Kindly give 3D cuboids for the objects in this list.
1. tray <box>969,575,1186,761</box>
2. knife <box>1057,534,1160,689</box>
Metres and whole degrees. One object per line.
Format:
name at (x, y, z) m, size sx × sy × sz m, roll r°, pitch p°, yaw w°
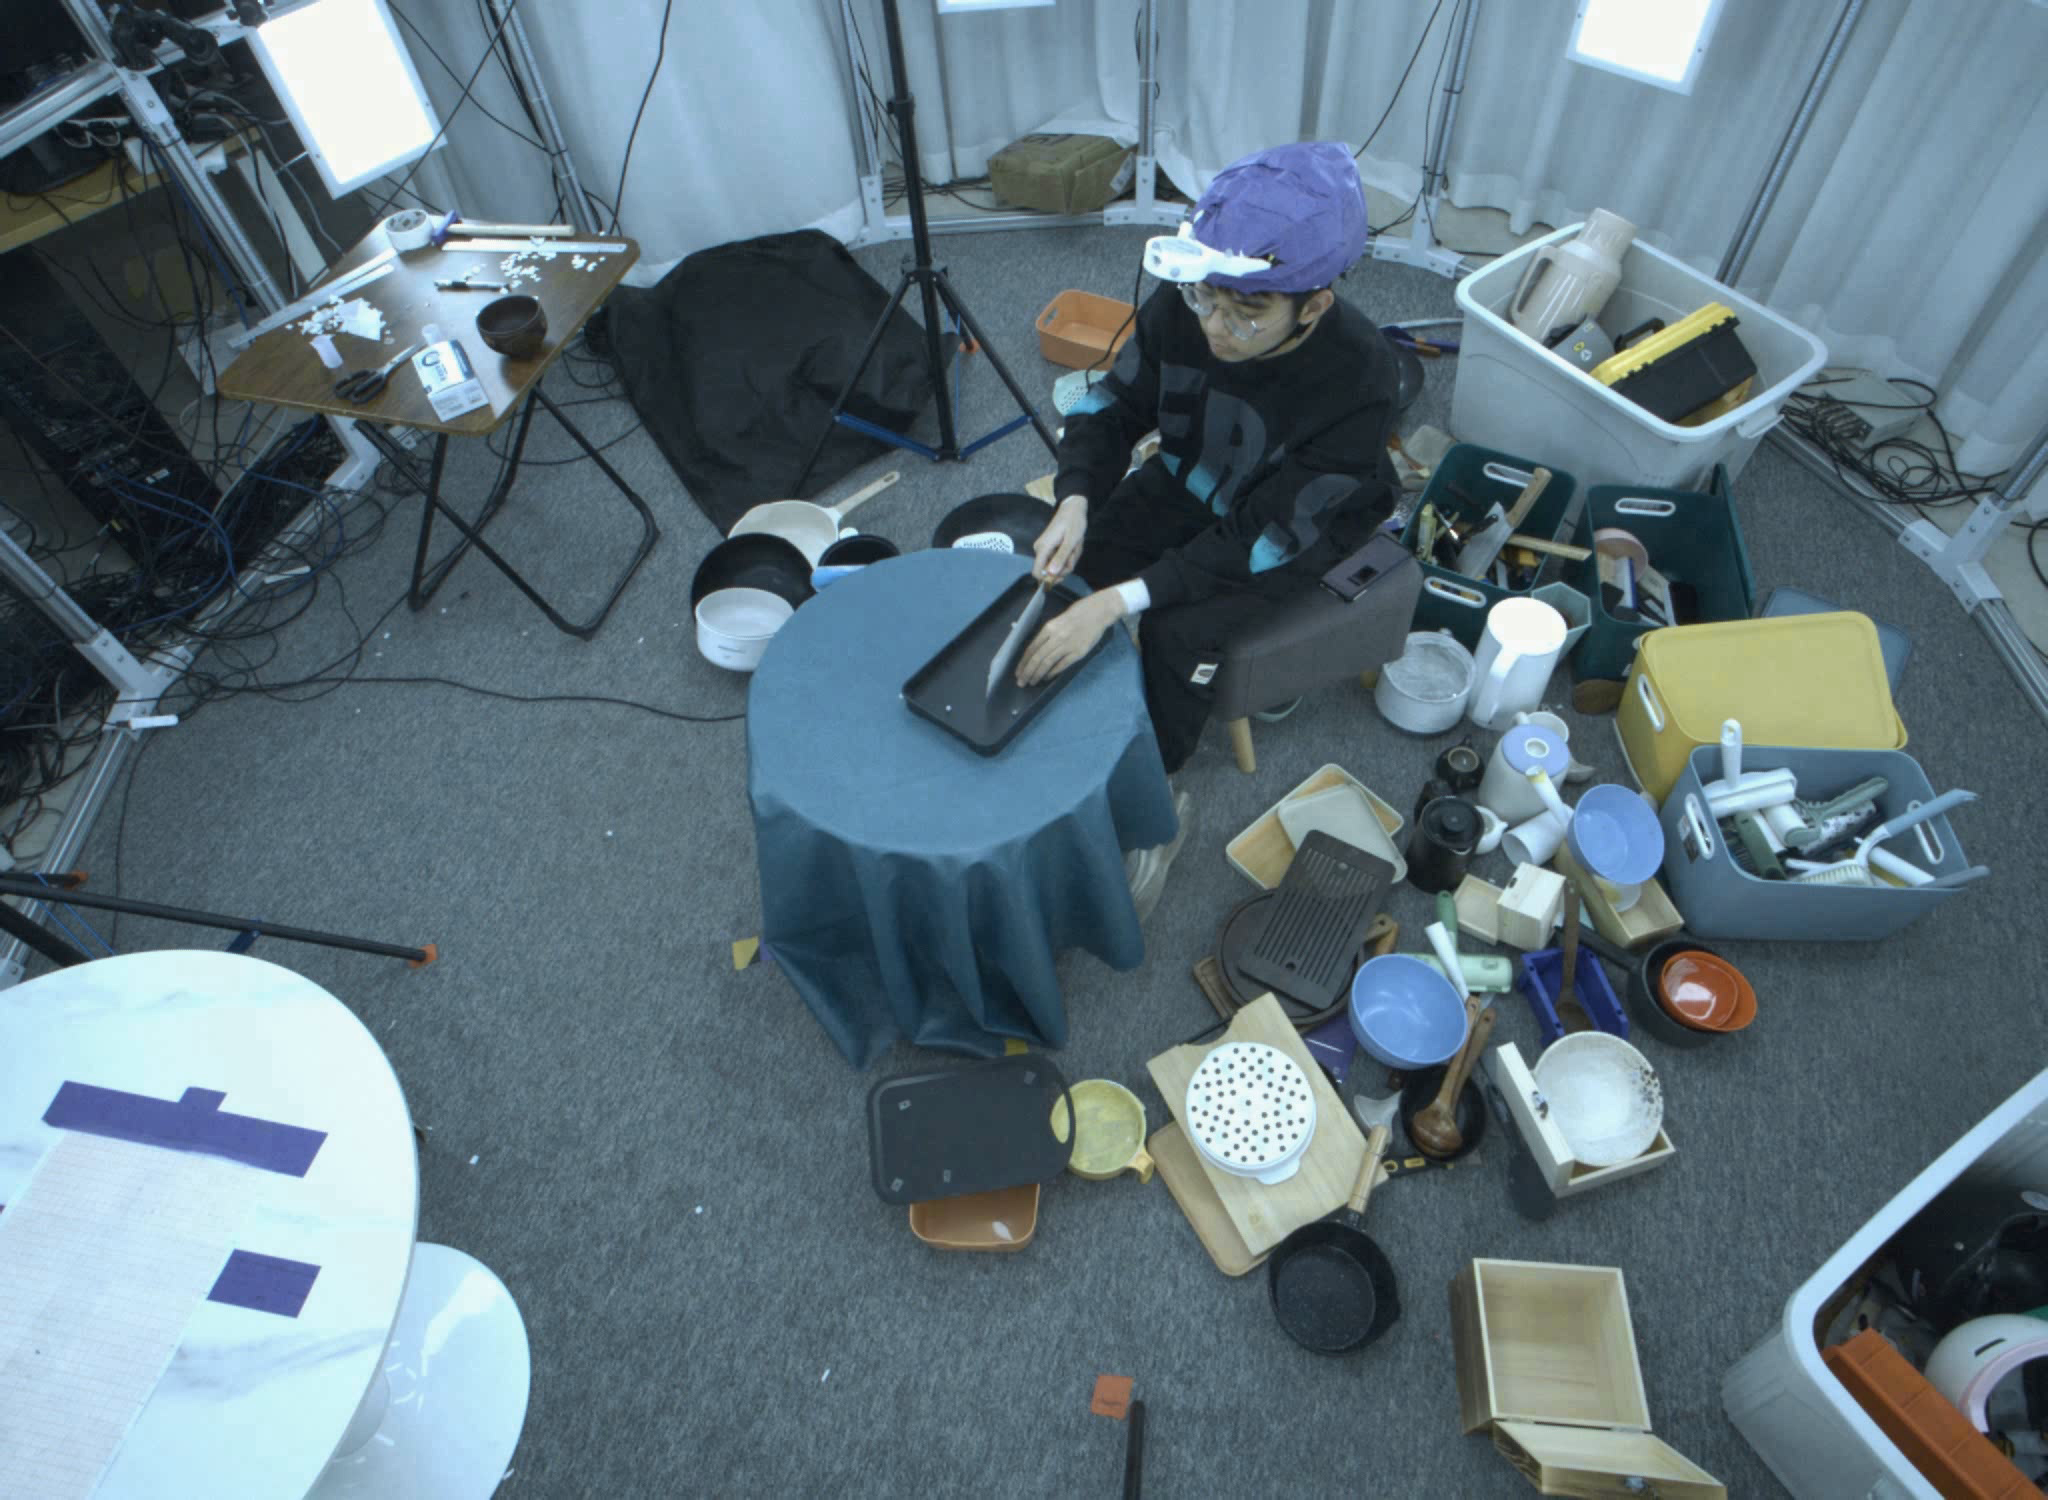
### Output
tray at (0.083, -0.130, 1.853) m, size 0.181 × 0.037 × 0.320 m, roll 35°, pitch 63°, yaw 24°
knife at (0.127, -0.208, 1.864) m, size 0.021 × 0.093 × 0.306 m, roll 28°, pitch 59°, yaw 10°
